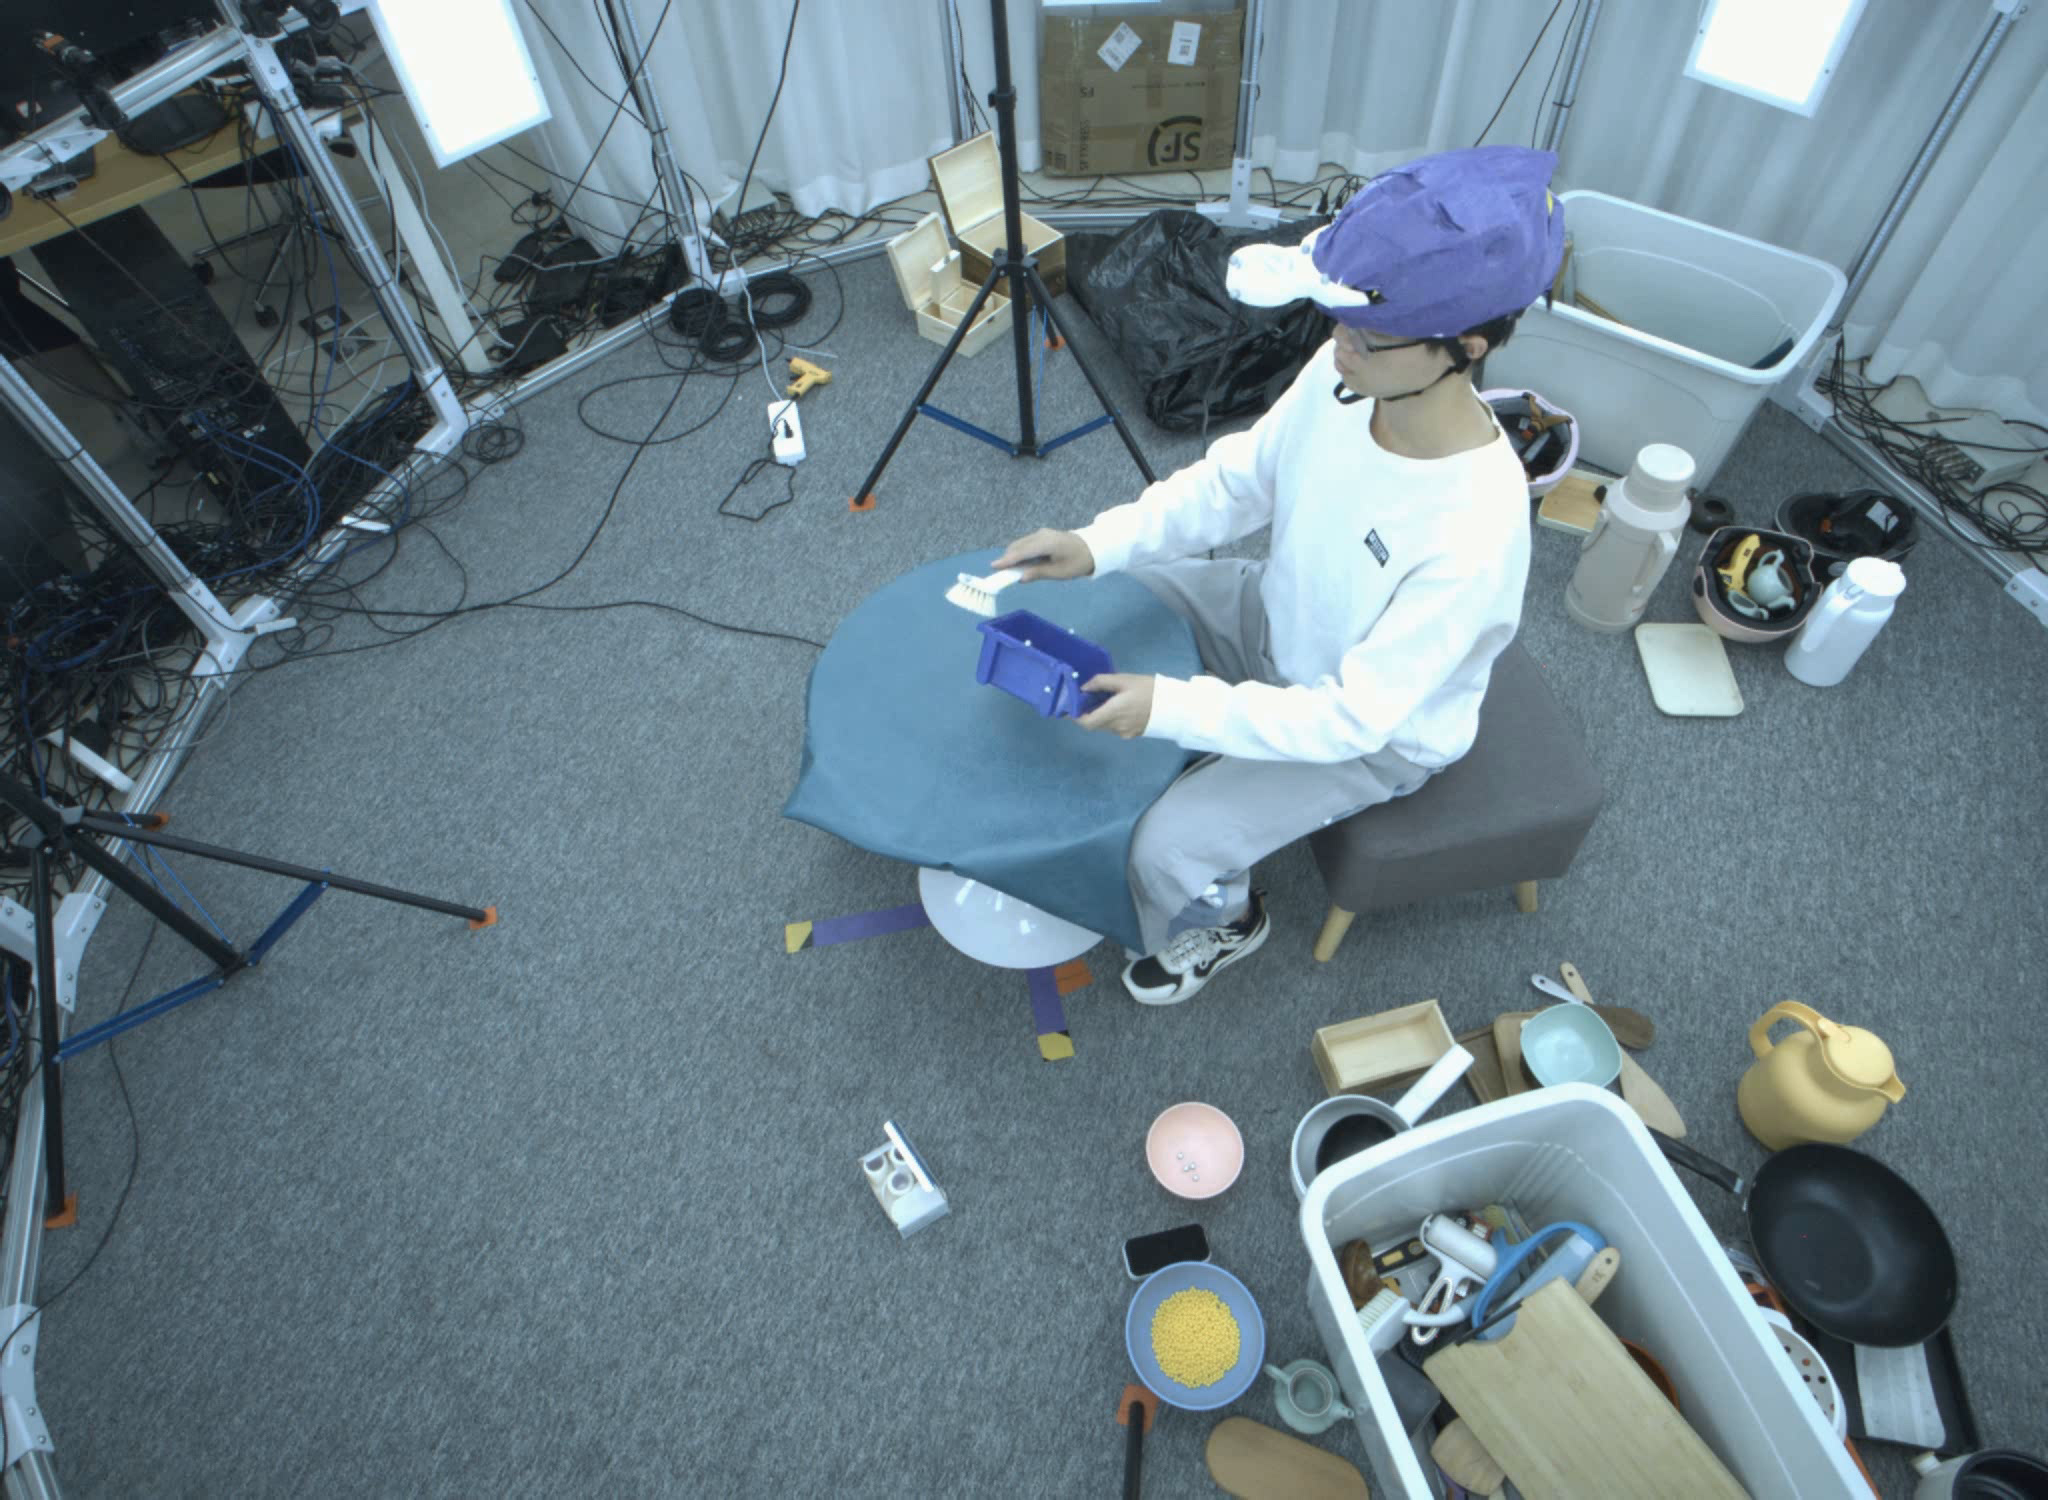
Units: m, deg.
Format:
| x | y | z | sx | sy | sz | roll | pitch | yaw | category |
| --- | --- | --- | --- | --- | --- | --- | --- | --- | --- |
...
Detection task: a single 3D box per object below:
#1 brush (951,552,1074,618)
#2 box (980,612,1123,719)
| x | y | z | sx | sy | sz | roll | pitch | yaw | category |
| --- | --- | --- | --- | --- | --- | --- | --- | --- | --- |
| -0.010 | -0.241 | 1.762 | 0.067 | 0.056 | 0.270 | 39 | 31 | 17 | brush |
| 0.038 | -0.112 | 1.697 | 0.176 | 0.082 | 0.126 | 26 | 26 | 22 | box |
